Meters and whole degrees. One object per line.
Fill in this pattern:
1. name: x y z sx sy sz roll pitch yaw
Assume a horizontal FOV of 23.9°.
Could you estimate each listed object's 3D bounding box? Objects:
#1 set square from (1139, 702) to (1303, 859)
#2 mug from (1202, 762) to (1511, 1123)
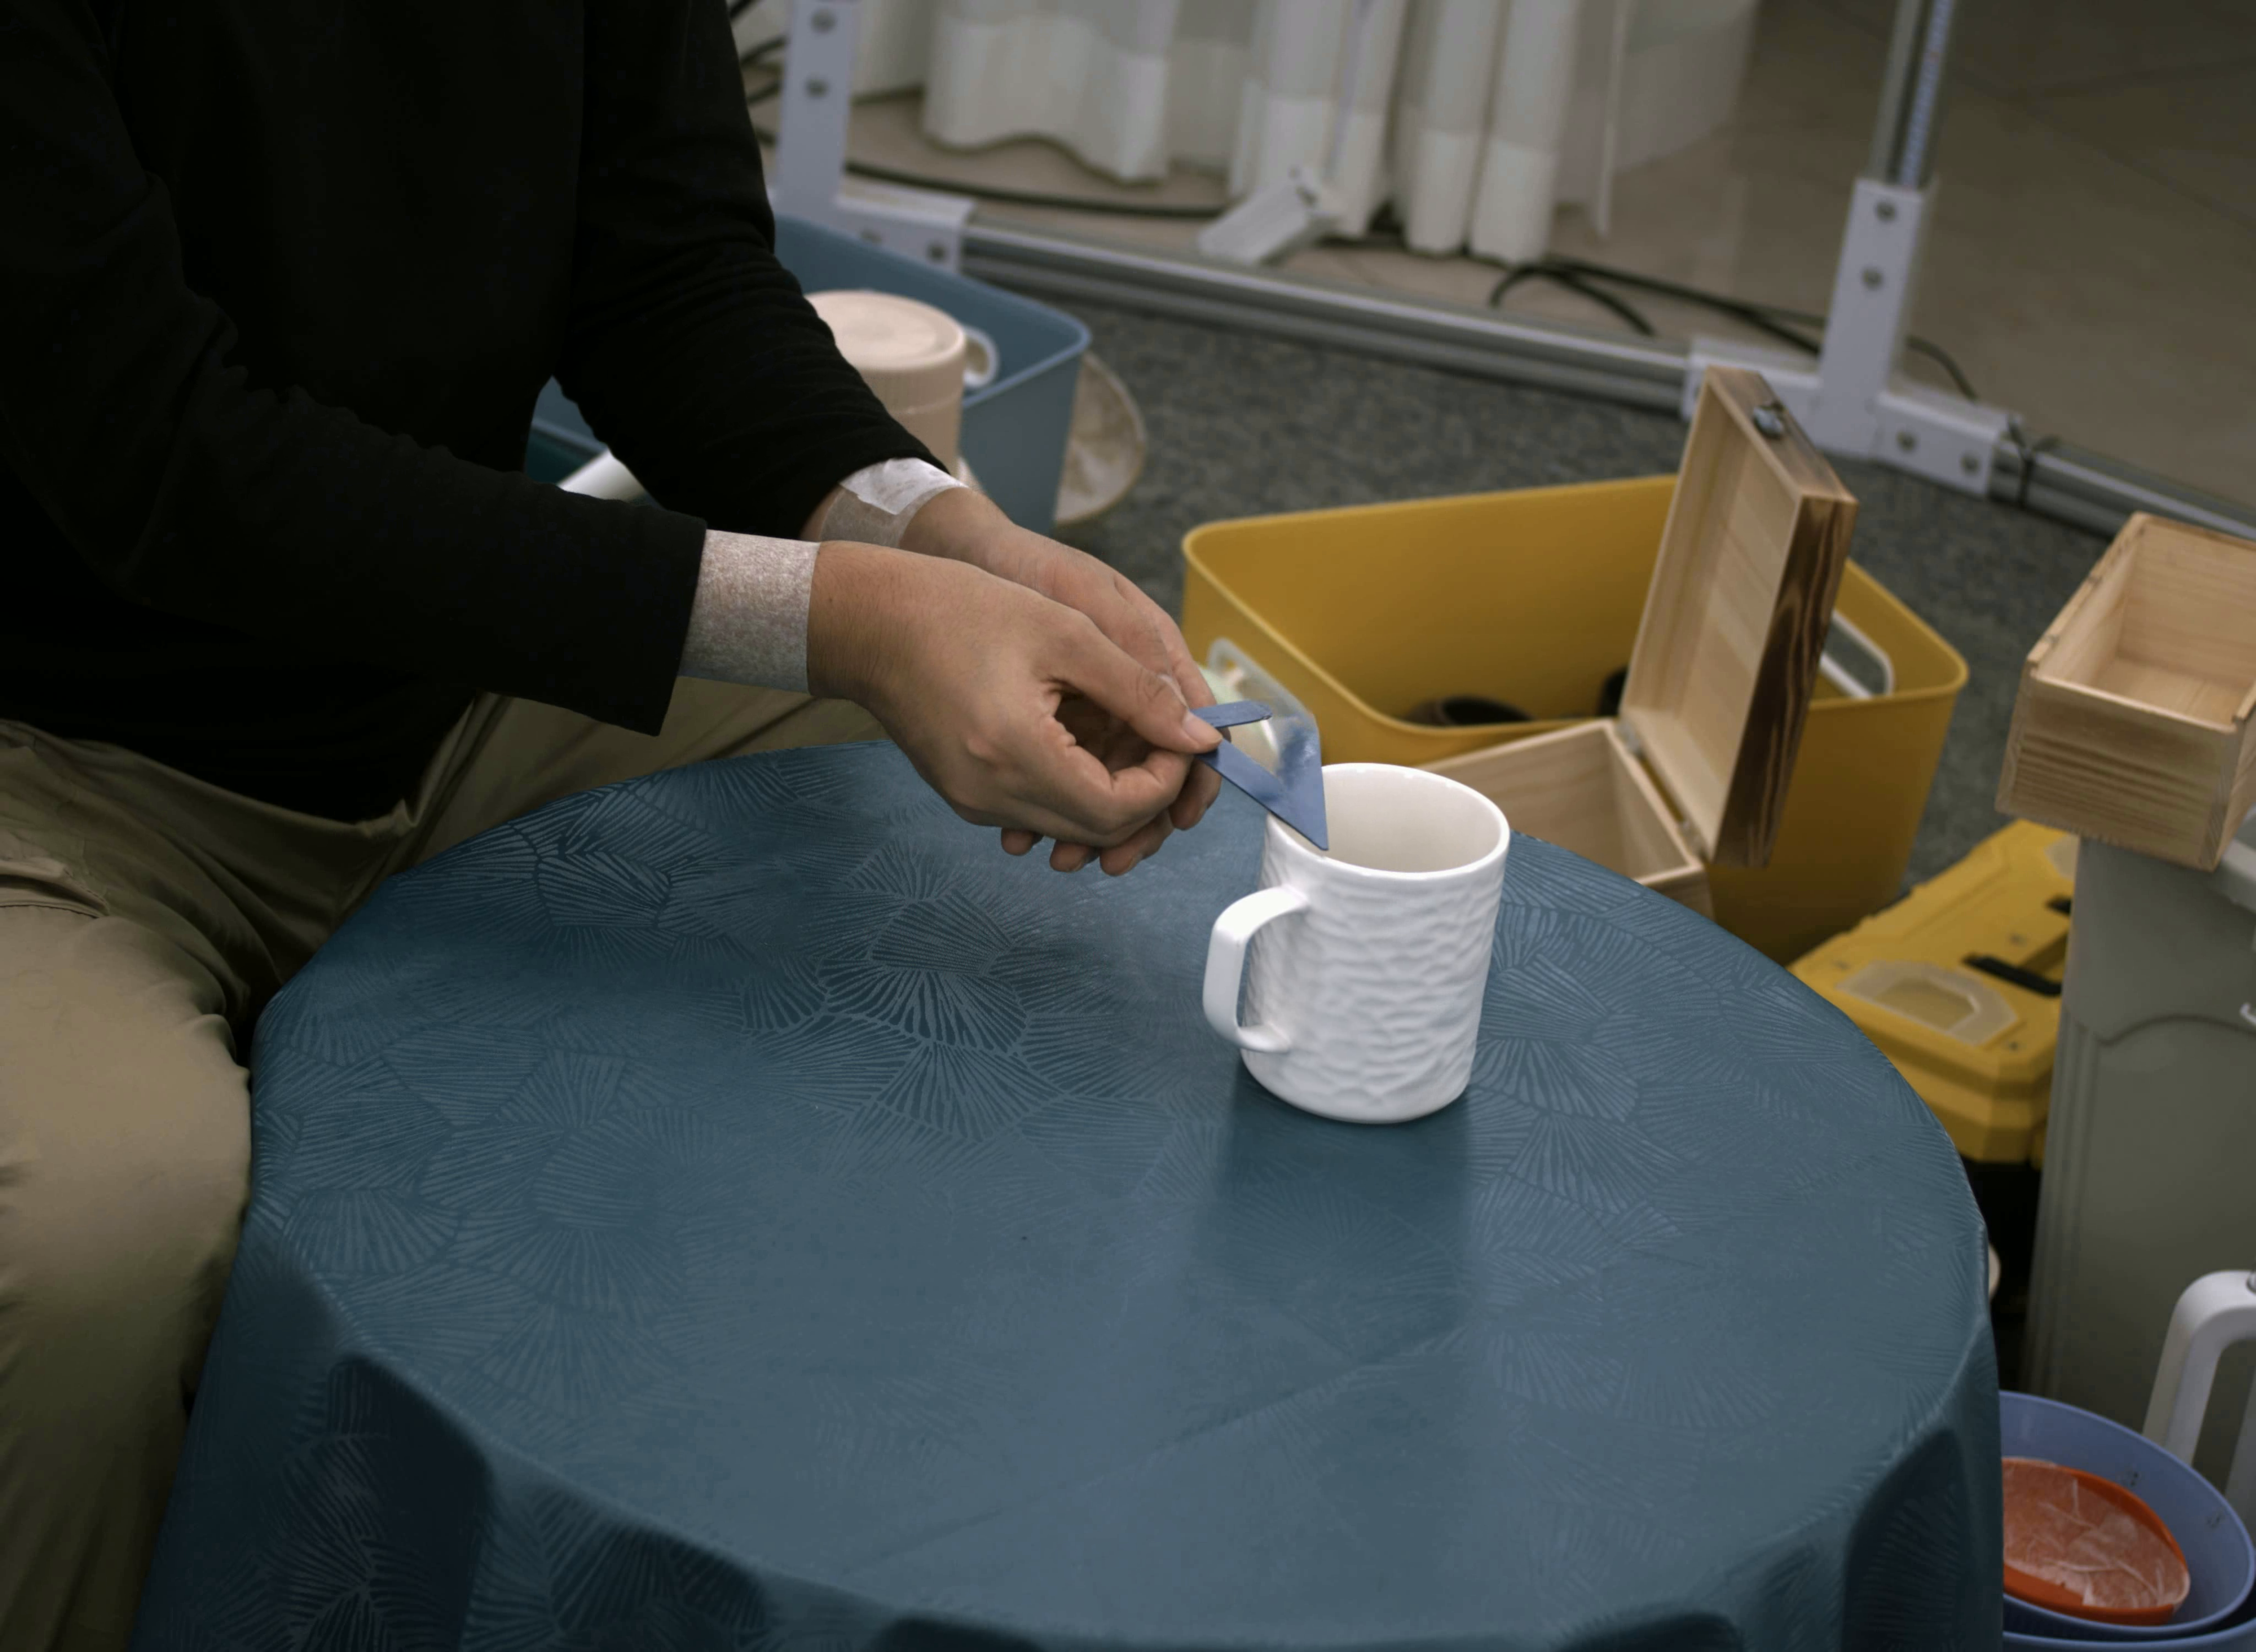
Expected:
1. set square: 0.031 -0.020 1.865 0.061 0.006 0.132 6 25 2
2. mug: 0.074 0.045 1.860 0.117 0.101 0.085 -16 35 -39
